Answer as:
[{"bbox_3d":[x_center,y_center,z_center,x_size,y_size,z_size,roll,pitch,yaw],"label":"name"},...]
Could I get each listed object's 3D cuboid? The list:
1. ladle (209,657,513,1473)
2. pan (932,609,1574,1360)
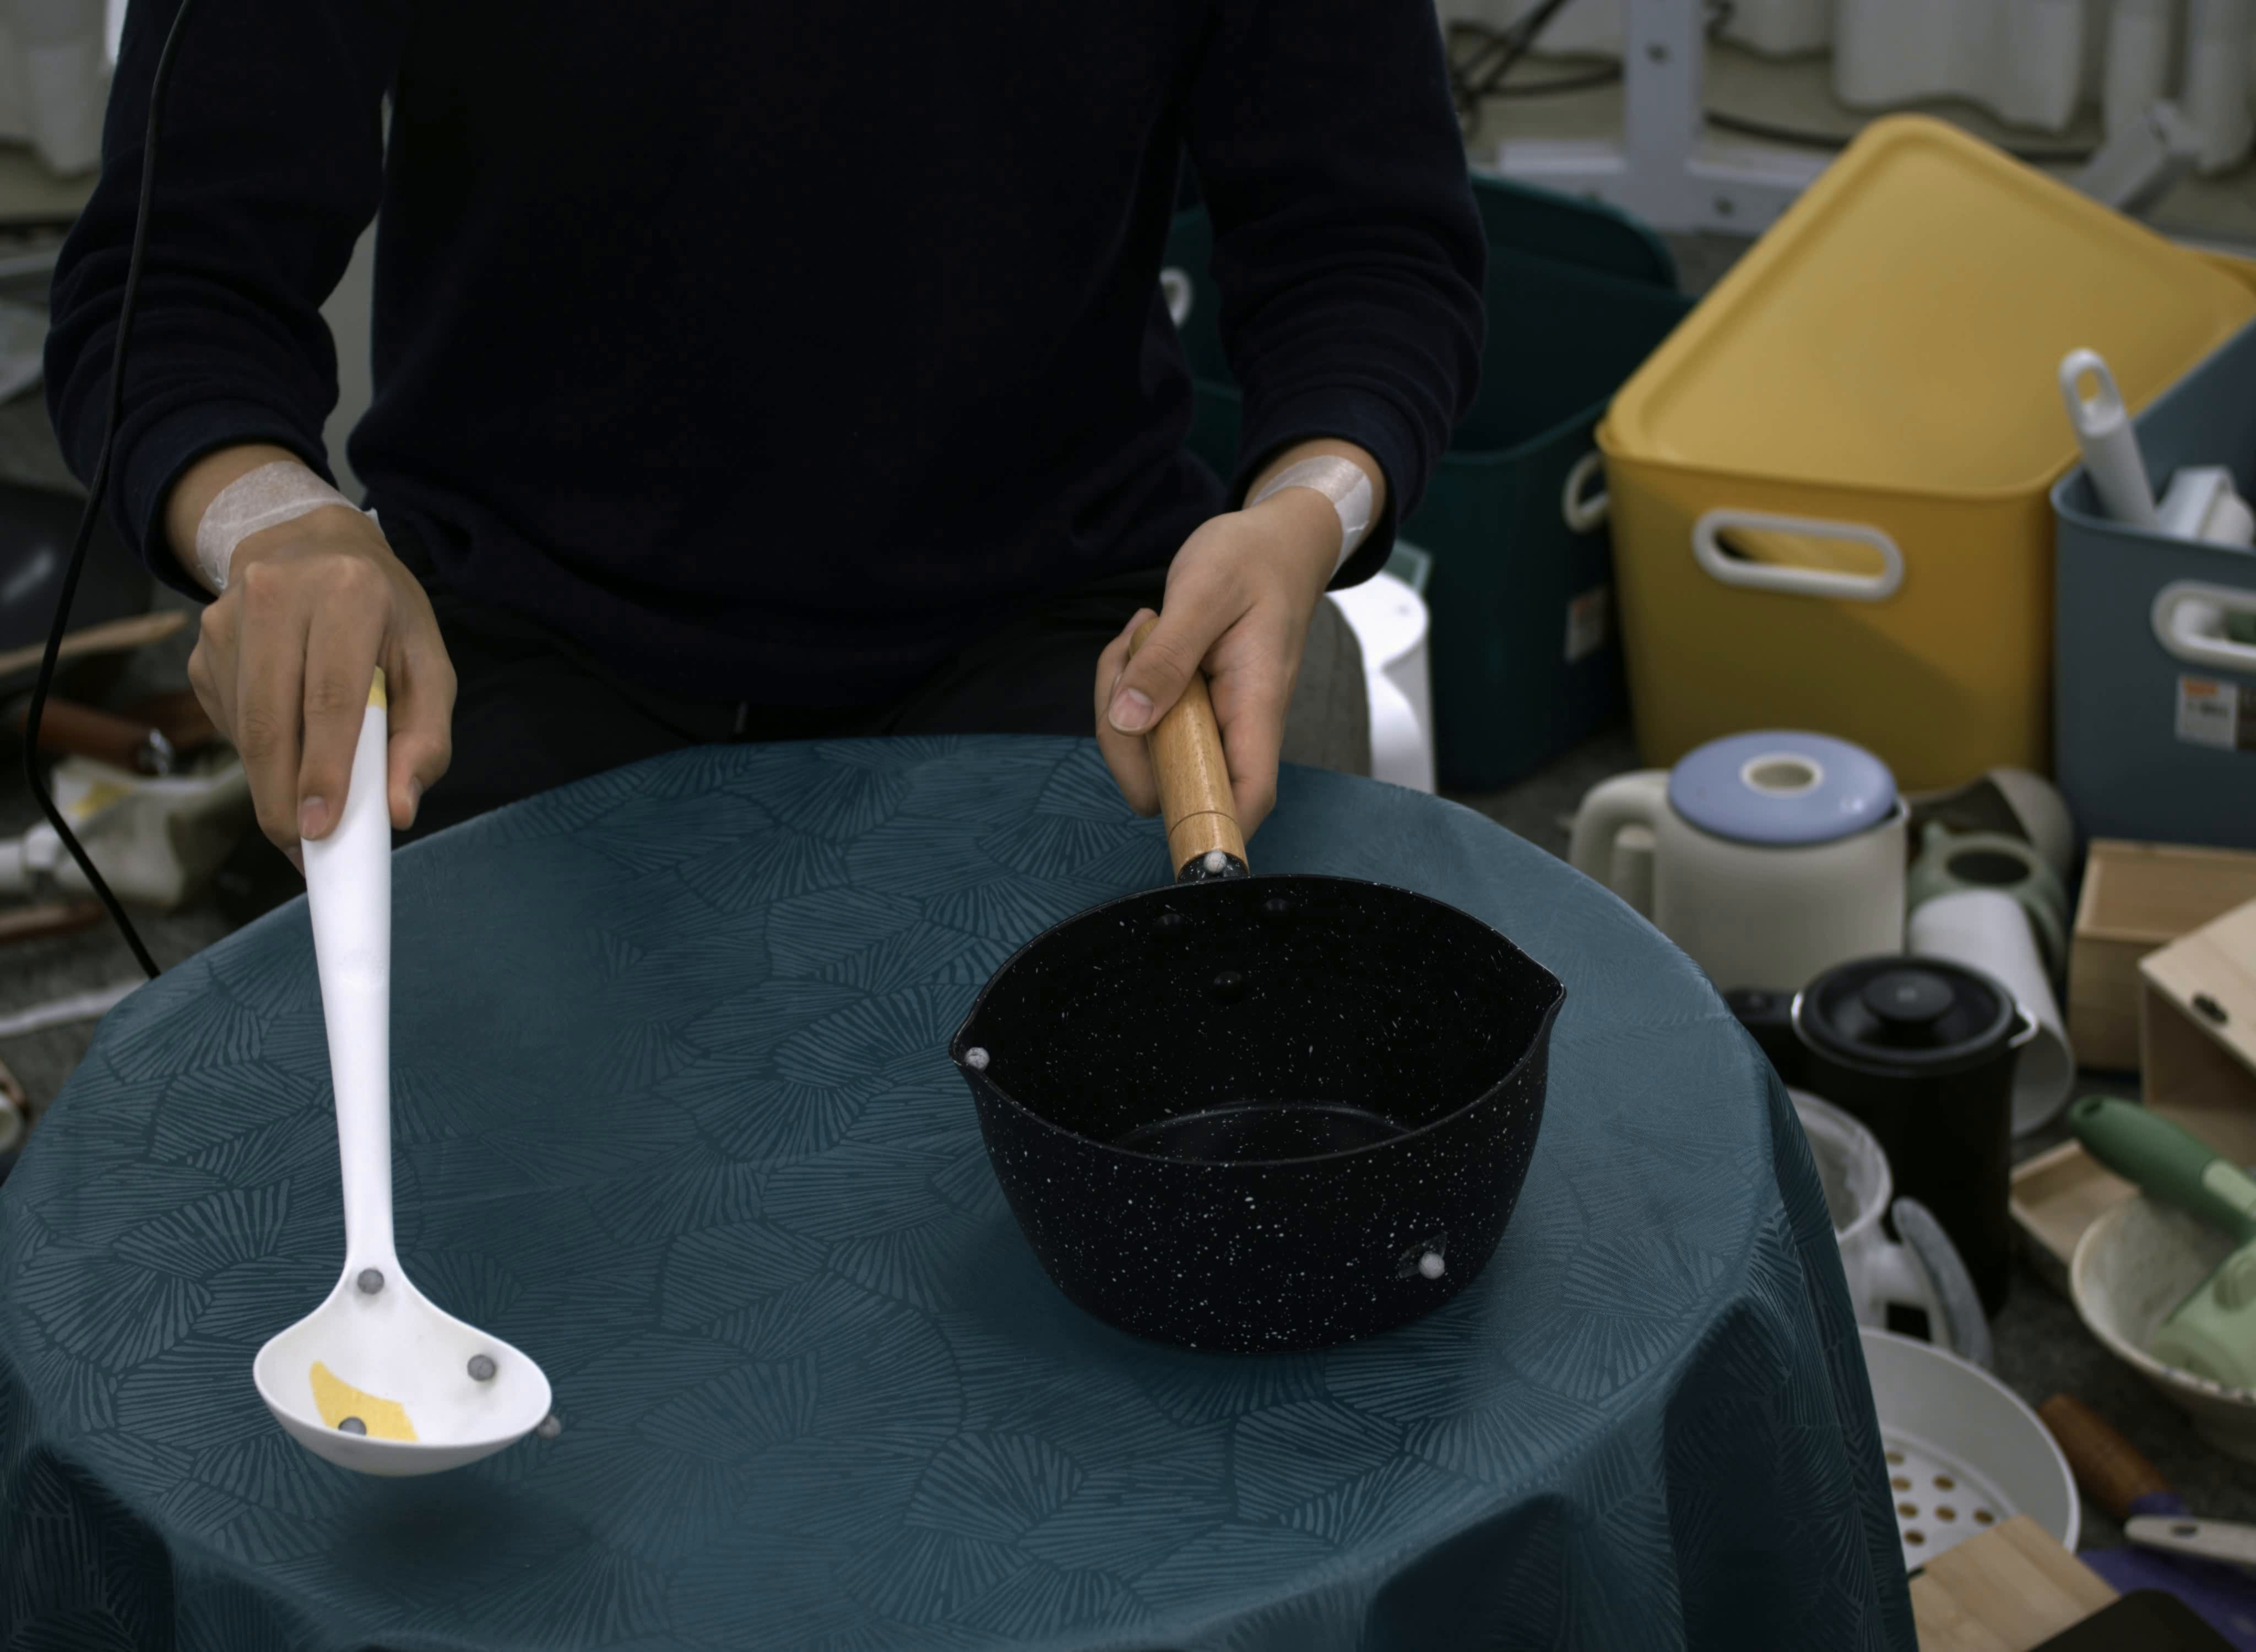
[{"bbox_3d":[-0.243,0.069,1.743,0.090,0.069,0.298,-1,59,-12],"label":"ladle"},{"bbox_3d":[0.032,0.049,1.882,0.207,0.107,0.347,-7,29,-5],"label":"pan"}]
